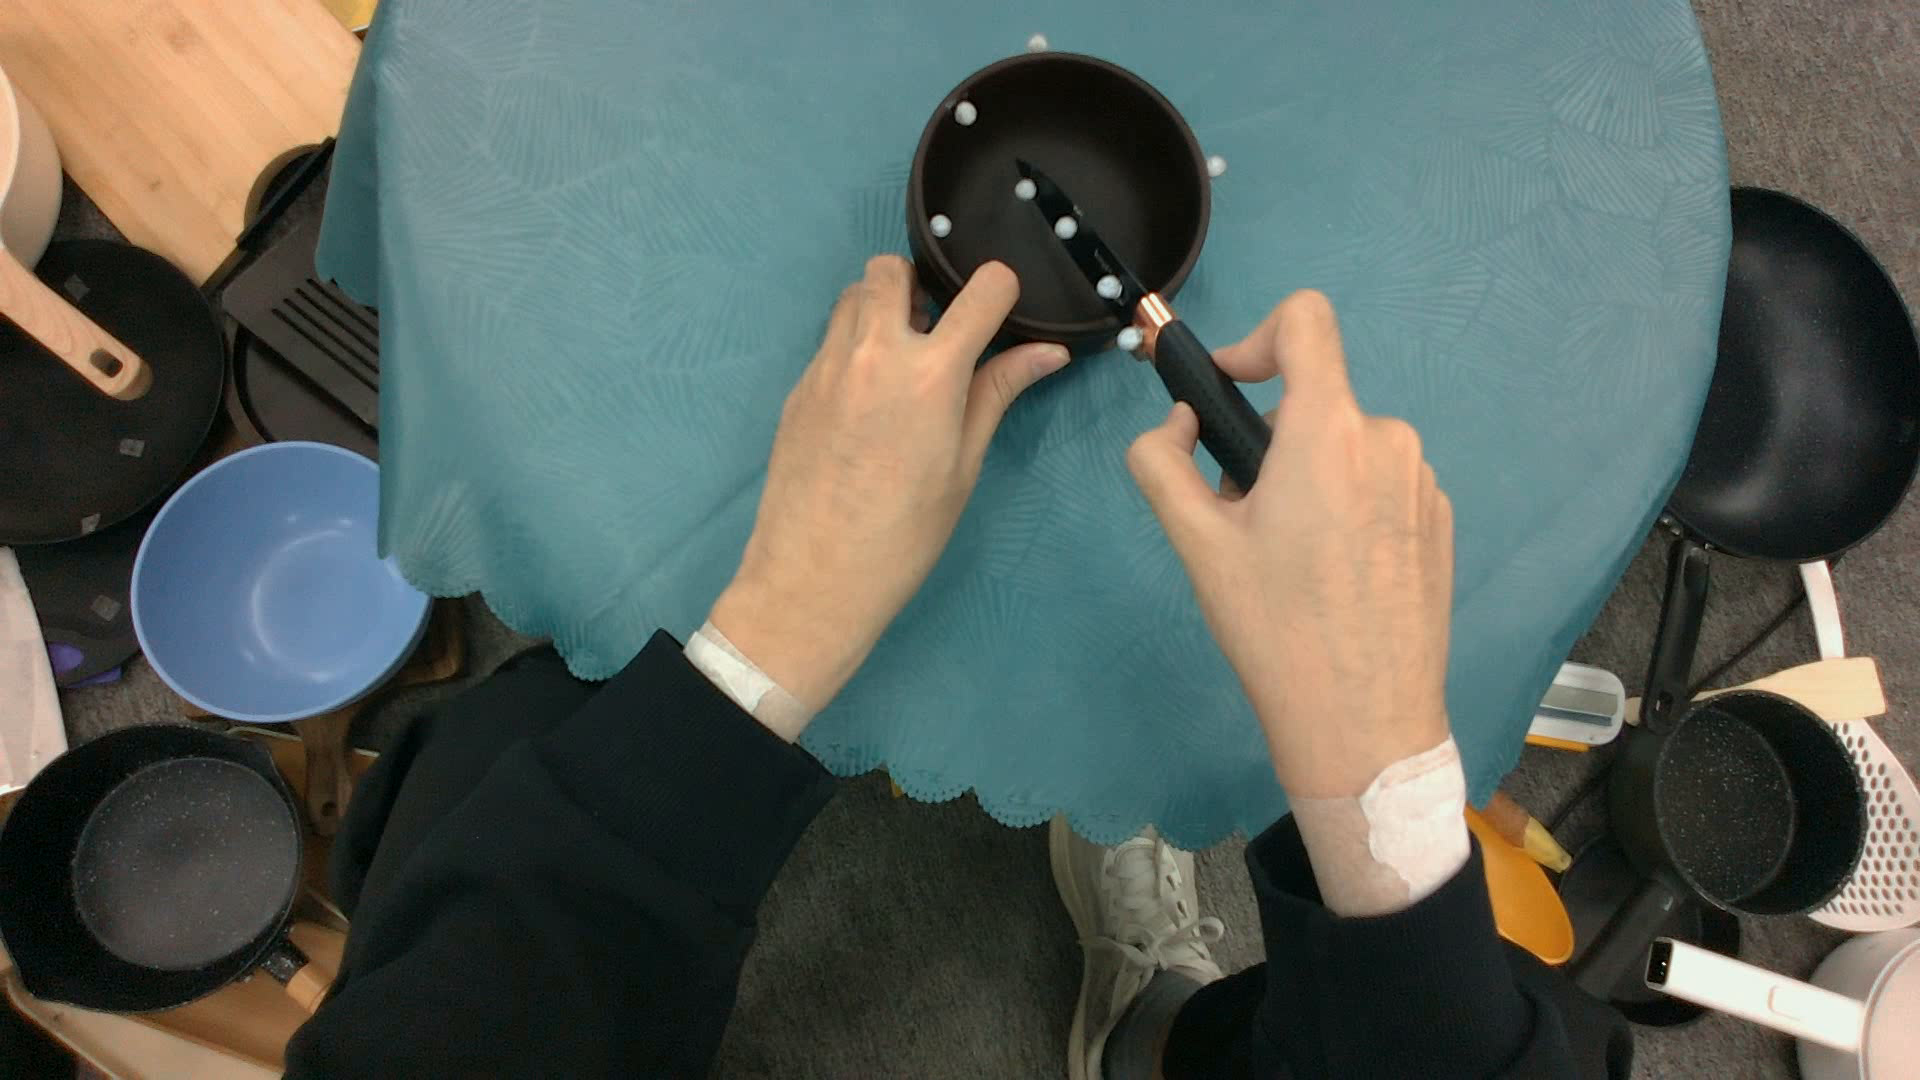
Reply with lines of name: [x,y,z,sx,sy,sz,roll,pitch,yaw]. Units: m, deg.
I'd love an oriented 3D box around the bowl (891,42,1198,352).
bowl: [0.031,-0.131,0.554,0.118,0.070,0.118,1,80,-5]

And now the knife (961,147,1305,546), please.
knife: [0.054,-0.080,0.489,0.026,0.017,0.226,-31,55,2]
